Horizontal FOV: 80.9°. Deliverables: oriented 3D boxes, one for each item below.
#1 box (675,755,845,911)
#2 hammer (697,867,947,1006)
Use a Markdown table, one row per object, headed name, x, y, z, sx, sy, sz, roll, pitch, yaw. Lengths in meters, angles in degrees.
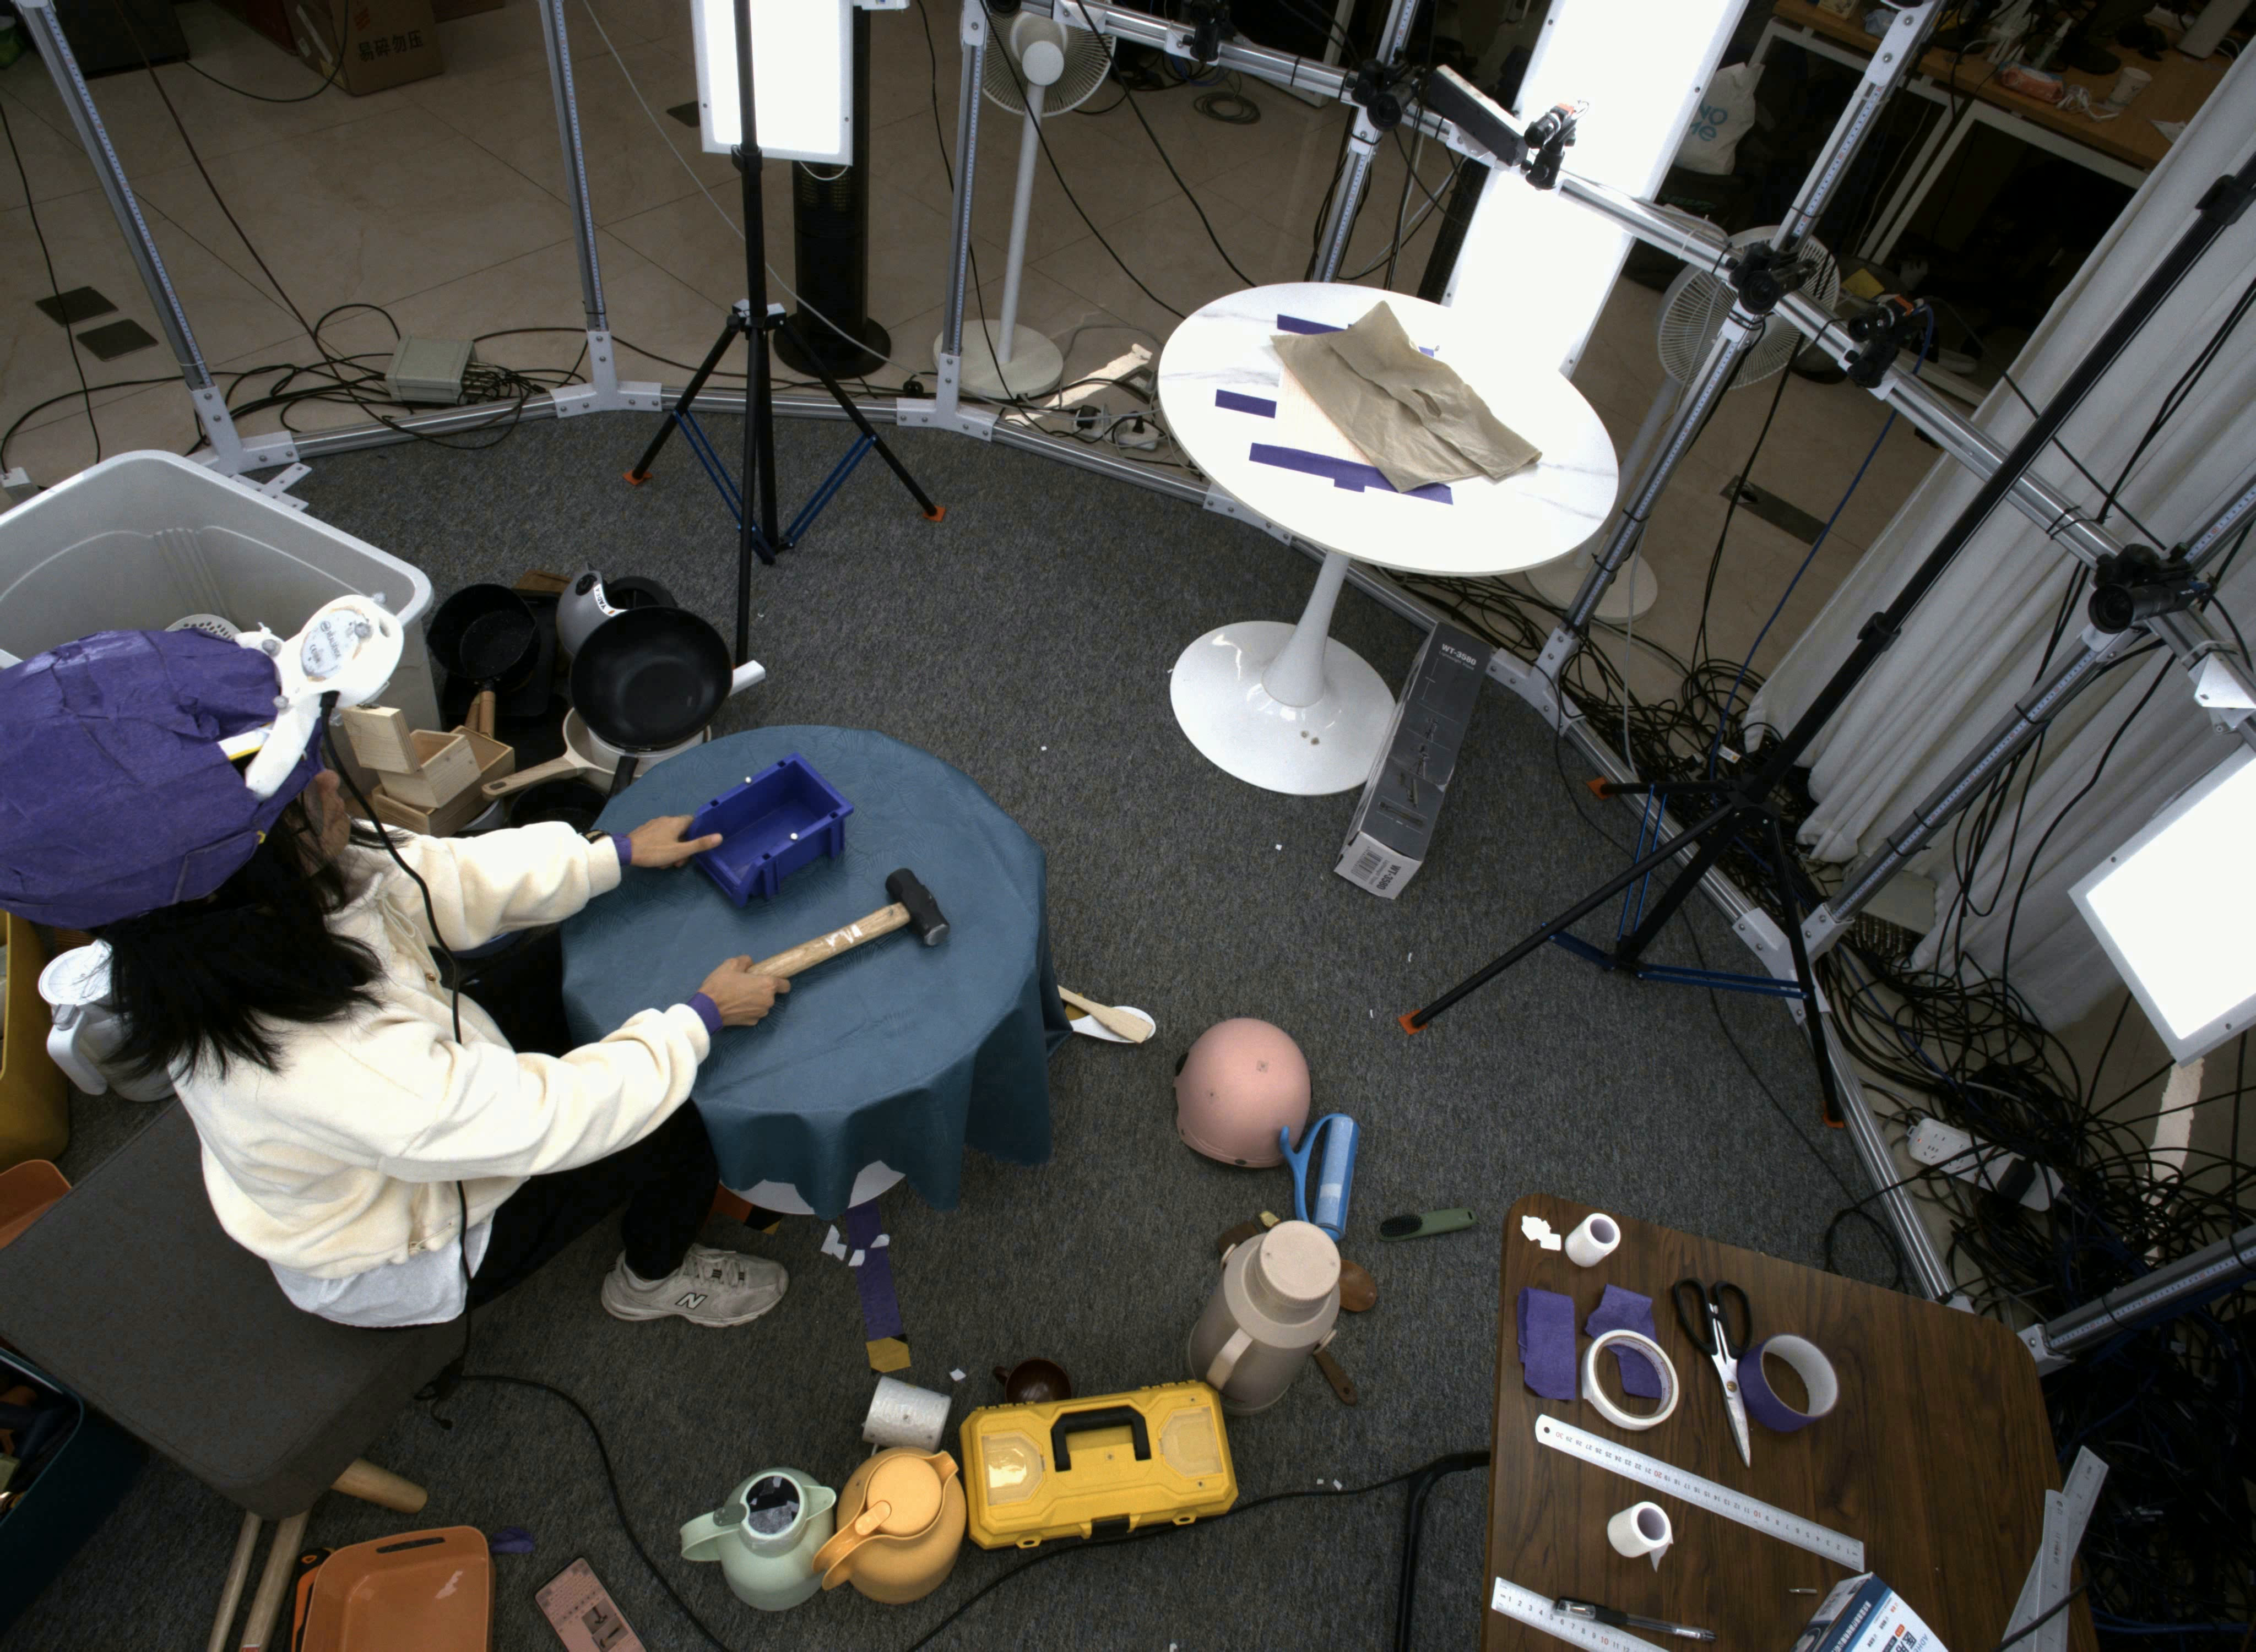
| name | x | y | z | sx | sy | sz | roll | pitch | yaw |
| --- | --- | --- | --- | --- | --- | --- | --- | --- | --- |
| box | -0.467 | 0.011 | 1.647 | 0.122 | 0.083 | 0.180 | 42 | 53 | 18 |
| hammer | -0.377 | 0.144 | 1.589 | 0.307 | 0.039 | 0.104 | -22 | 61 | -31 |
